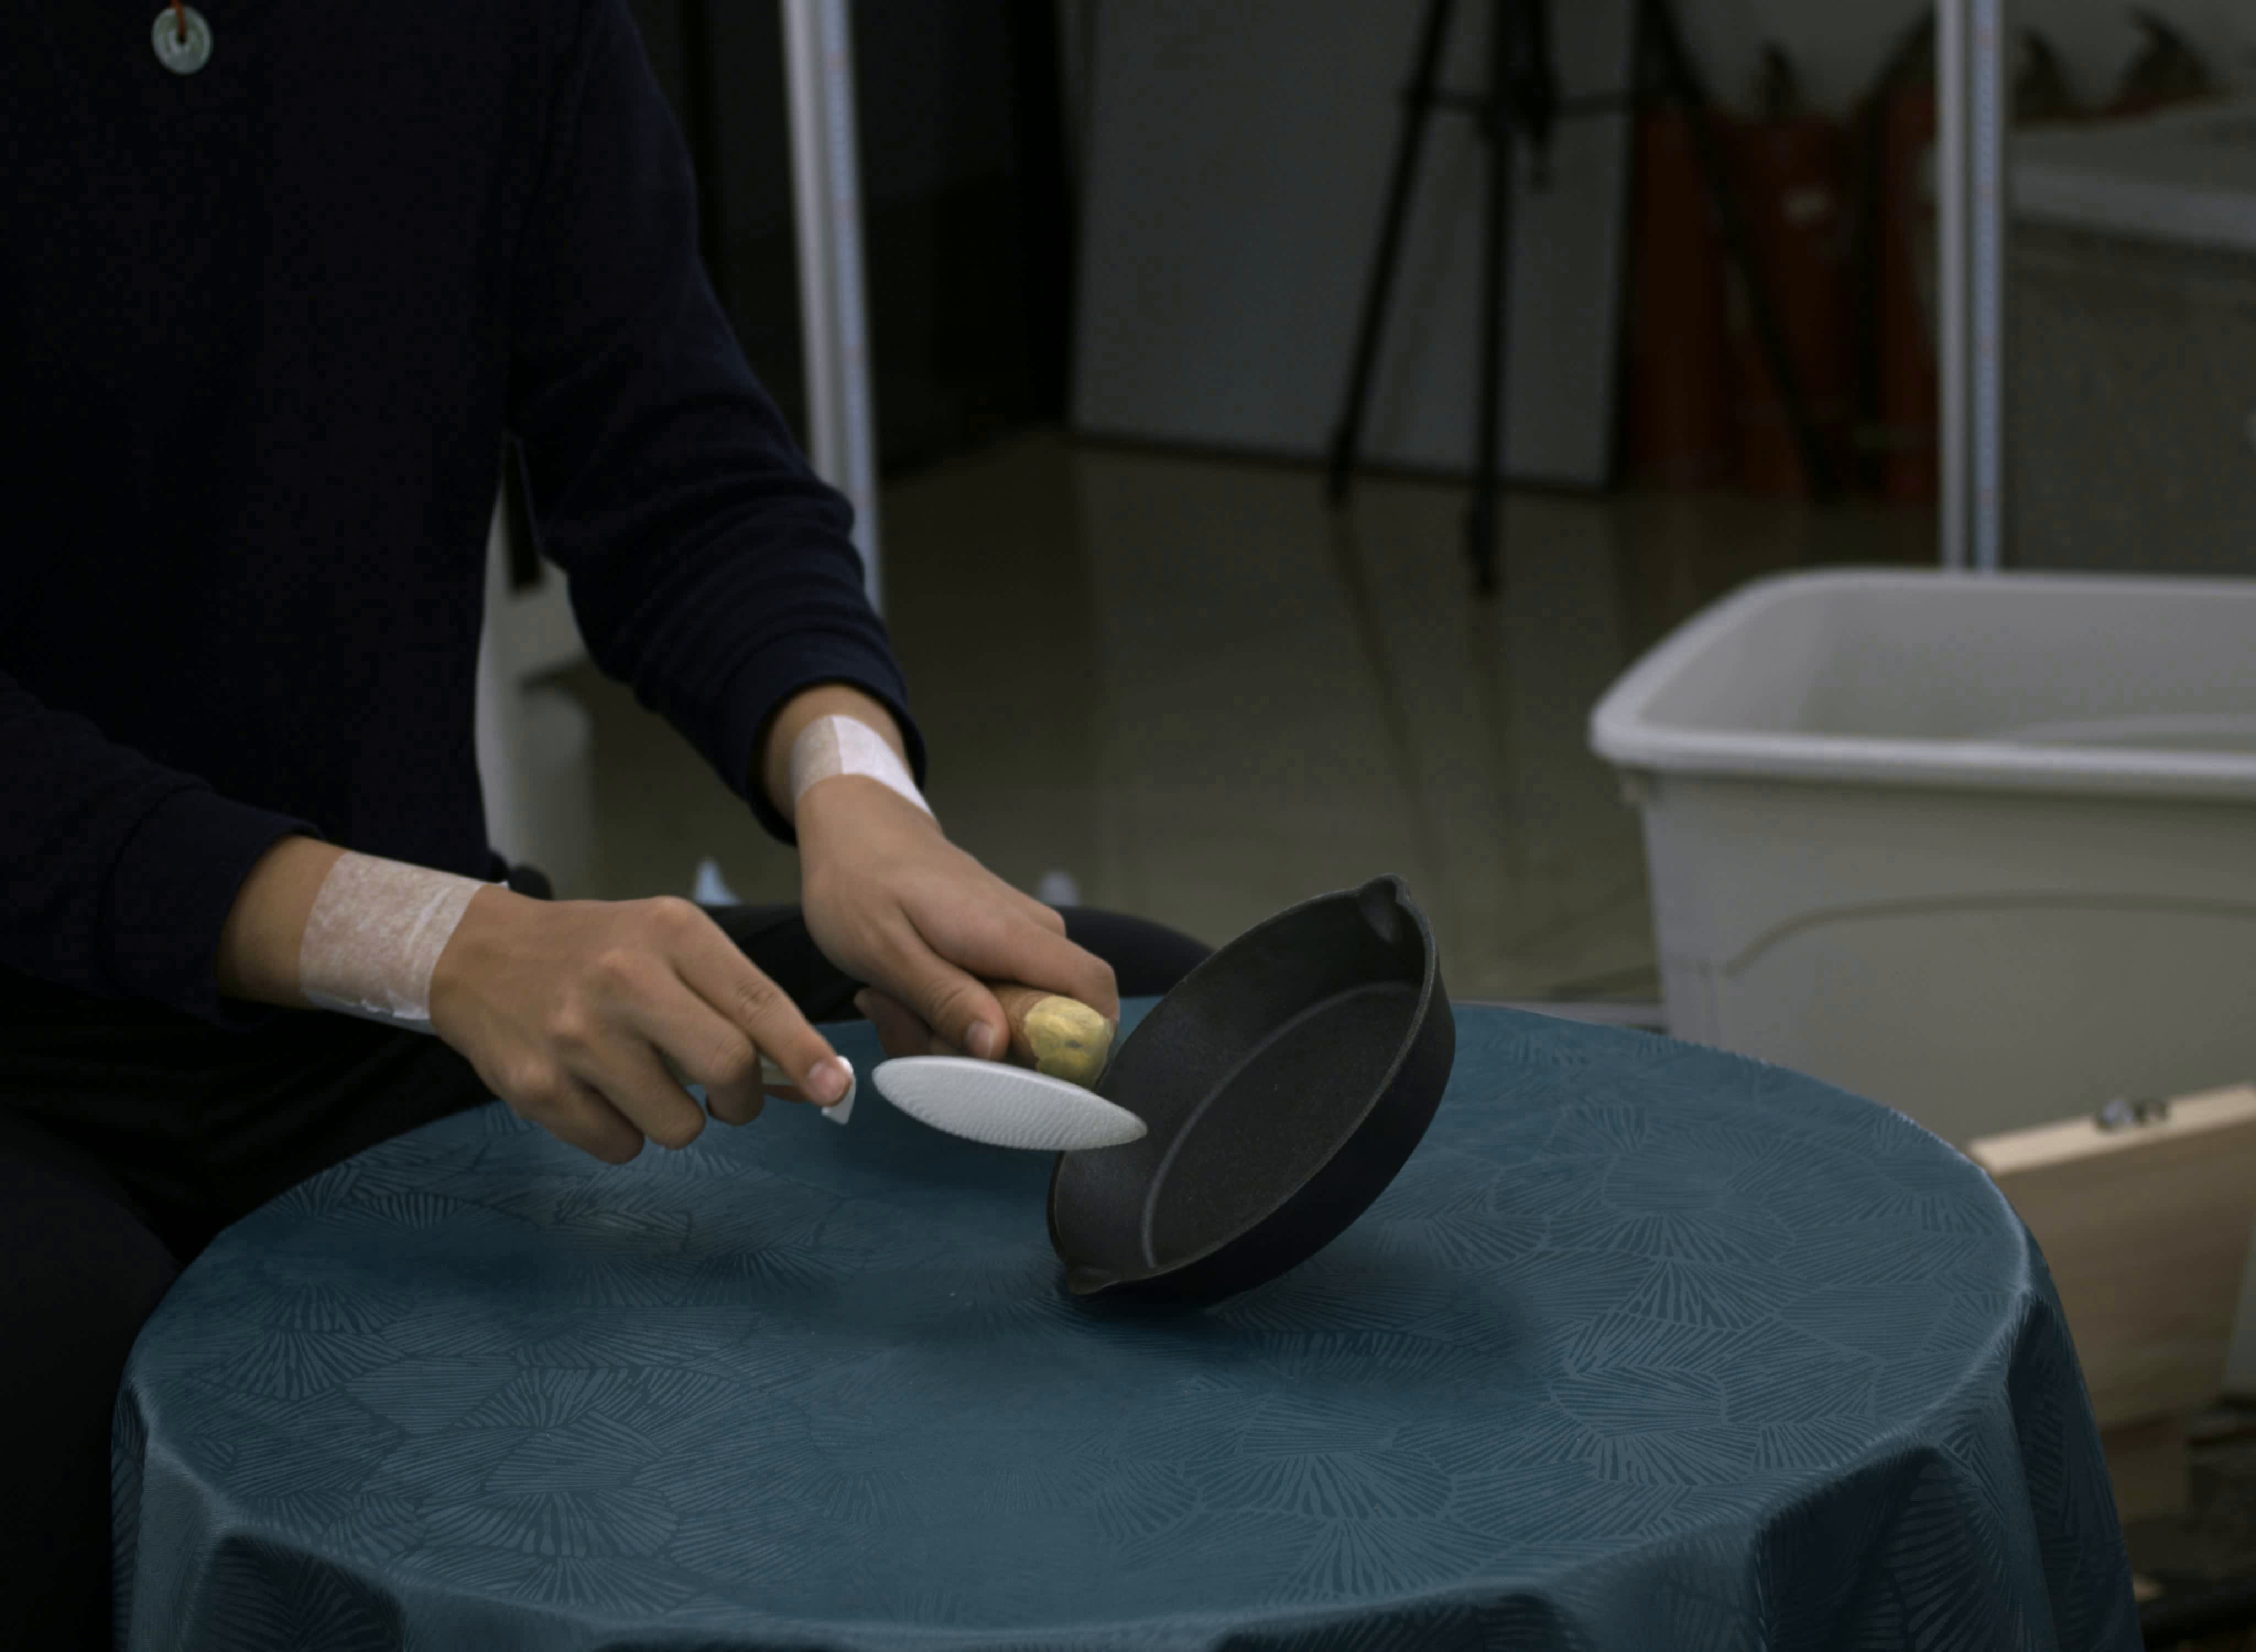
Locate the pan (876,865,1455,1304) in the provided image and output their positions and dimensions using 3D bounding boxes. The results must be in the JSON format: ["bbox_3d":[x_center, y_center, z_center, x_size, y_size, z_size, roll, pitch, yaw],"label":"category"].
[{"bbox_3d":[0.000,0.074,1.747,0.169,0.049,0.327,-52,26,-12],"label":"pan"}]

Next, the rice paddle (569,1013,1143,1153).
[{"bbox_3d":[-0.085,0.081,1.692,0.206,0.030,0.068,4,-15,32],"label":"rice paddle"}]
